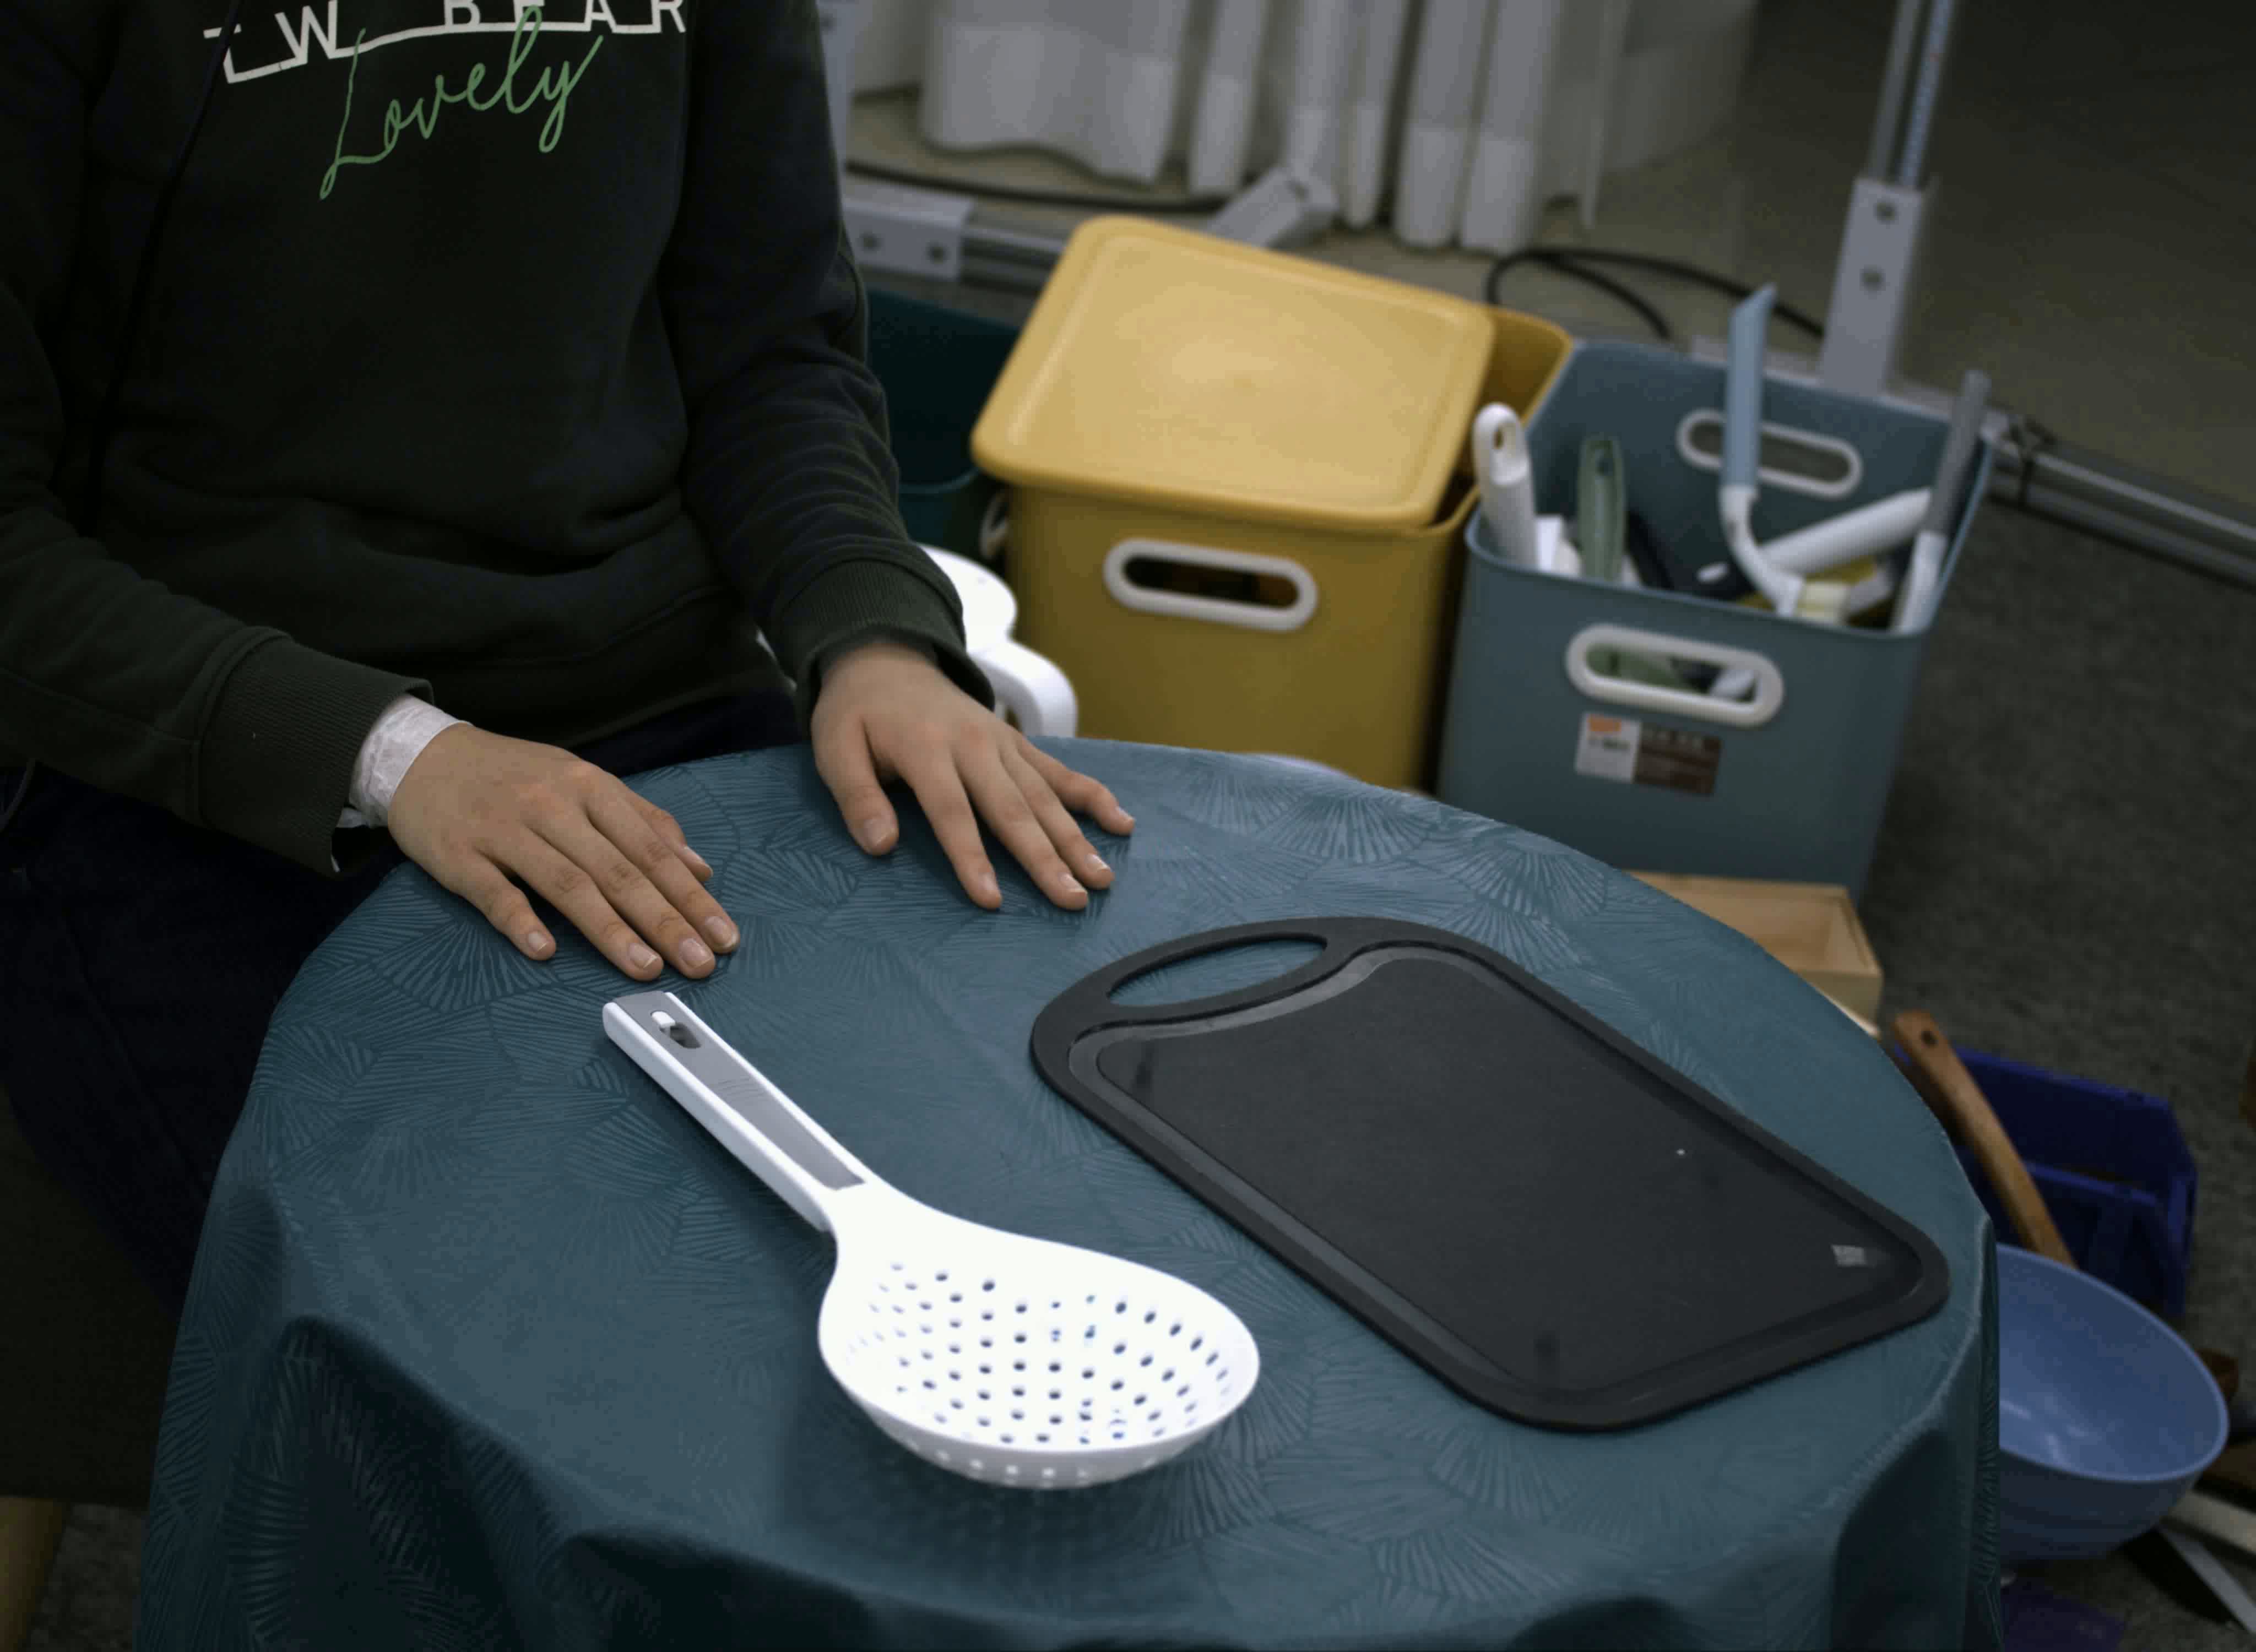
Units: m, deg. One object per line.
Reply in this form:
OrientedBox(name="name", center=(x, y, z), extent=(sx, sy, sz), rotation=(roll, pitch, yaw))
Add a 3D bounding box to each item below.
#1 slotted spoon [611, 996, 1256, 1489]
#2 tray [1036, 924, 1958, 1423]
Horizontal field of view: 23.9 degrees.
OrientedBox(name="slotted spoon", center=(-0.083, 0.128, 1.722), extent=(0.135, 0.045, 0.353), rotation=(-7, 29, -30))
OrientedBox(name="tray", center=(0.118, 0.110, 1.846), extent=(0.210, 0.010, 0.328), rotation=(-14, 33, -35))
